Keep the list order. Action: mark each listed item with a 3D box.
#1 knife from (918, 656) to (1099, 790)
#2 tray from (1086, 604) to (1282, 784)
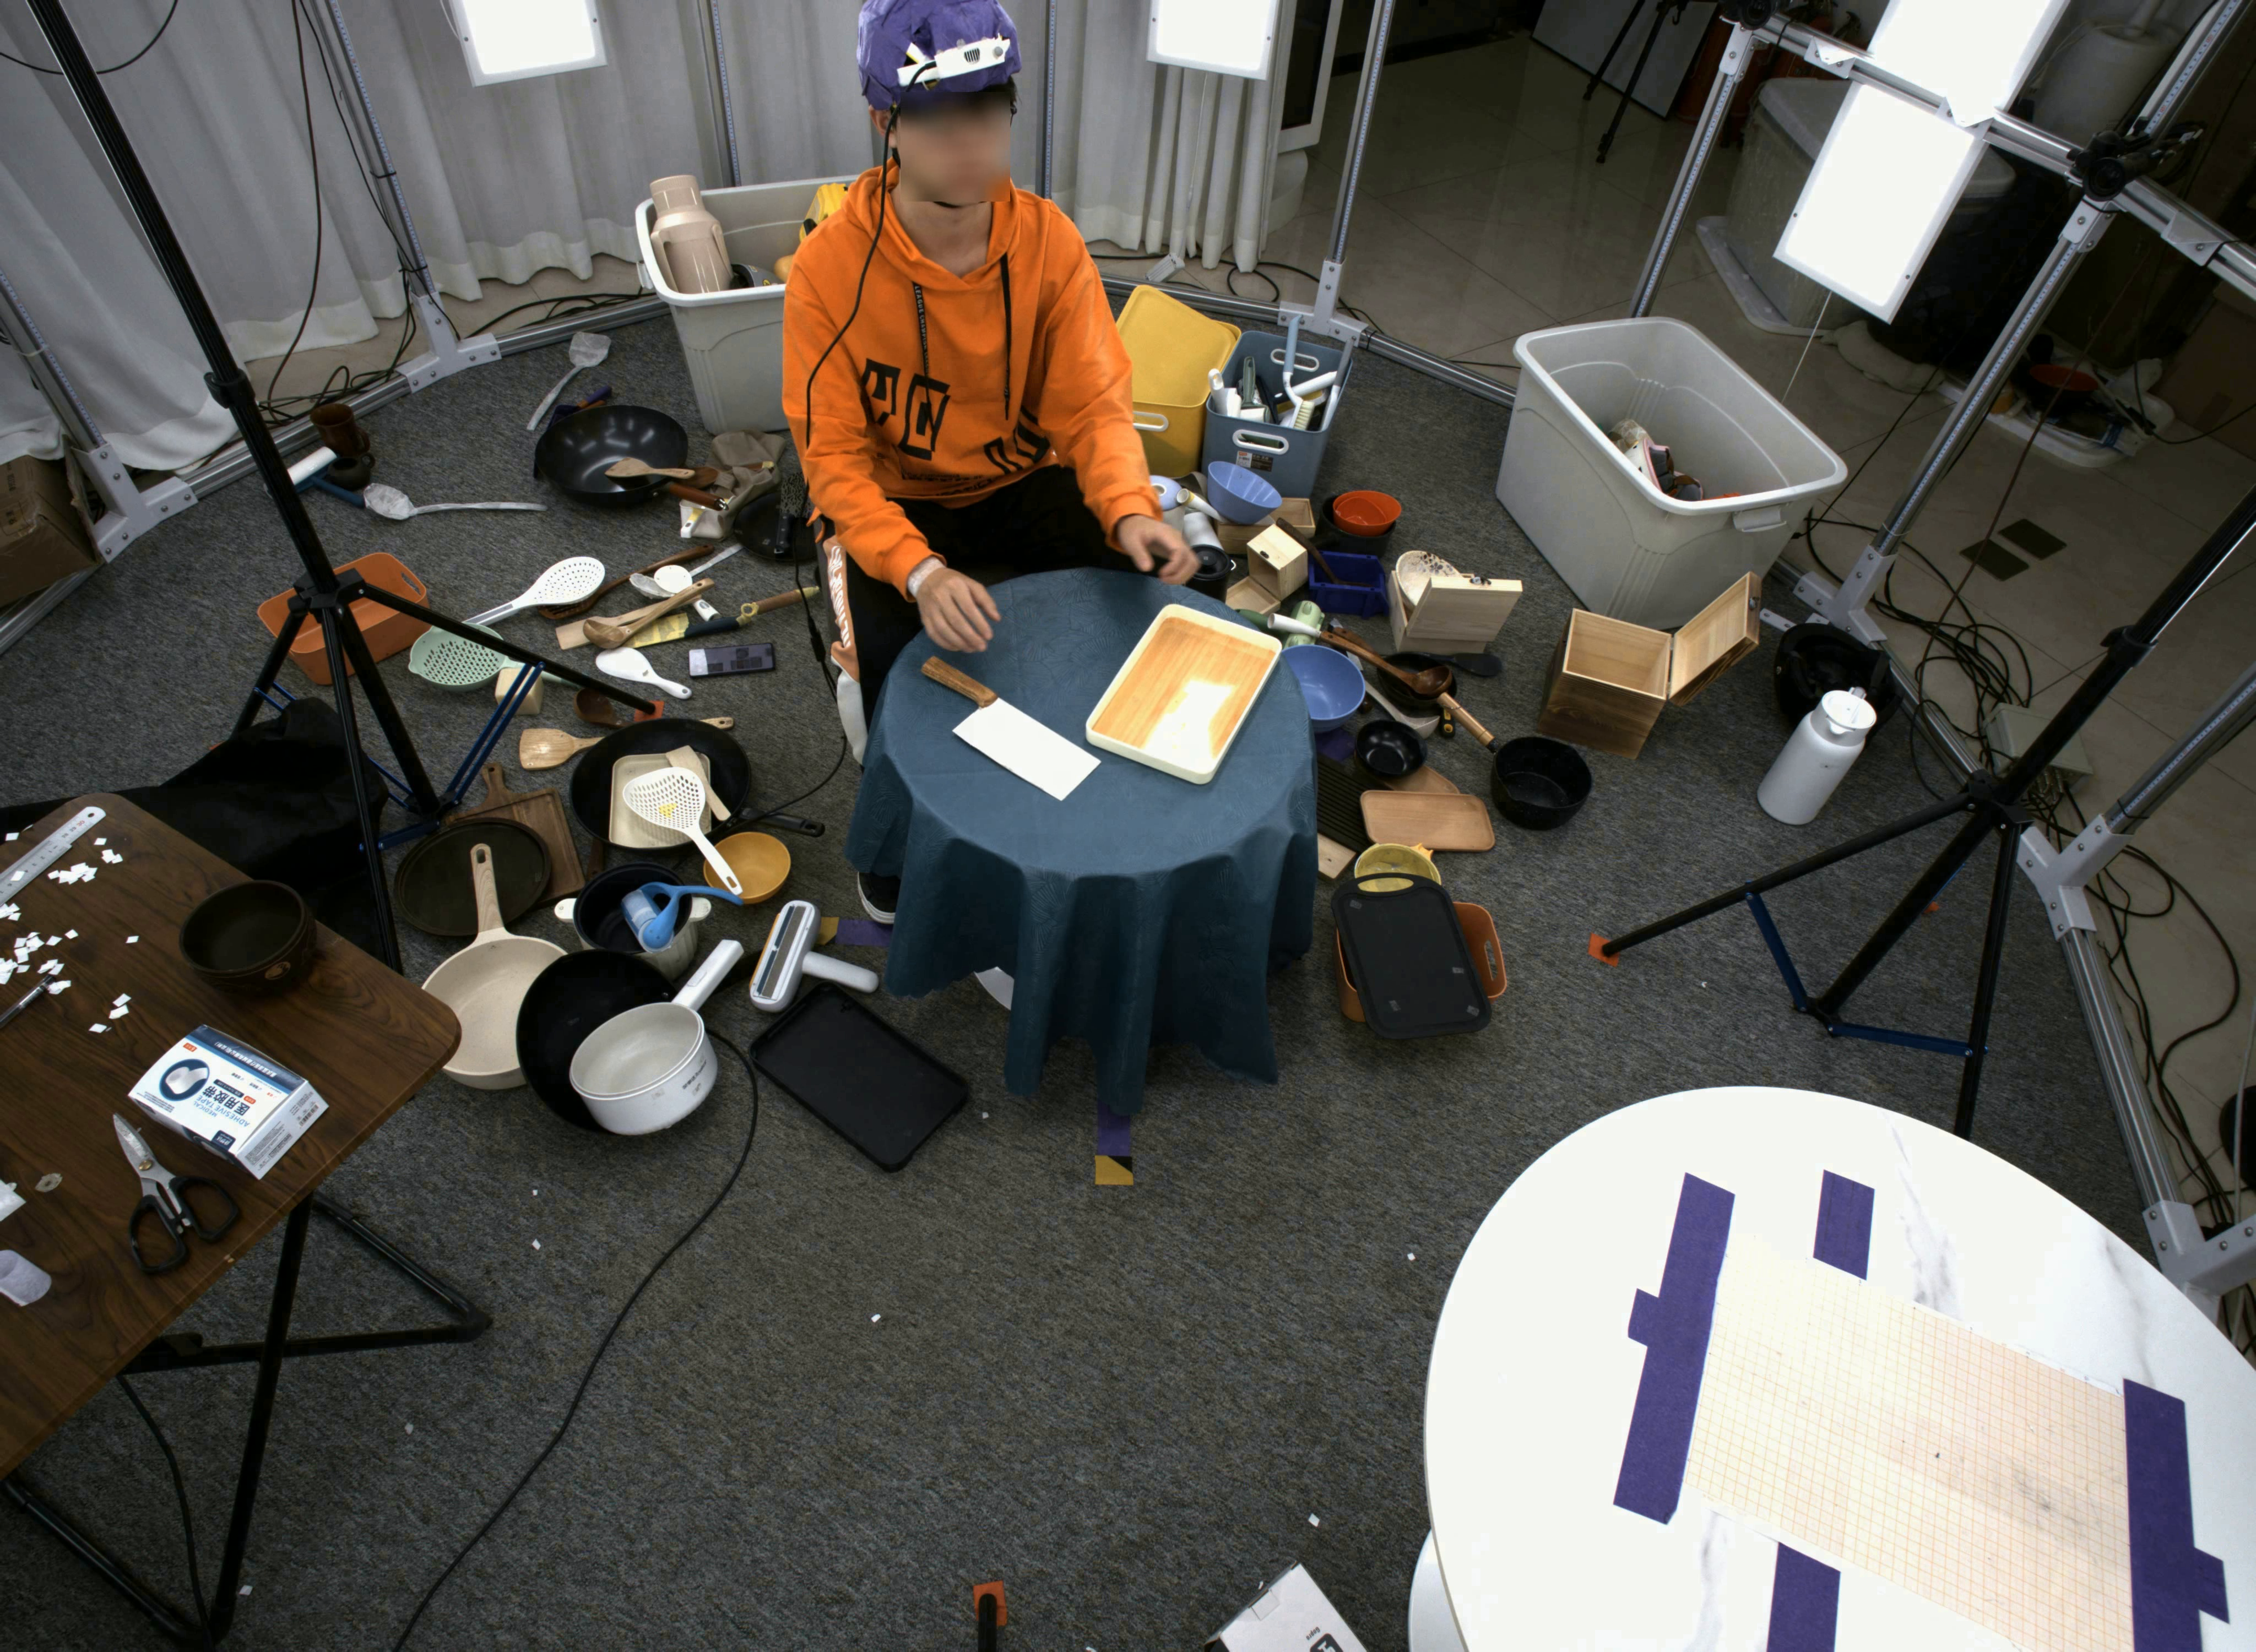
[{"bbox_3d":[-0.183,-0.139,1.767,0.309,0.020,0.094,32,56,19],"label":"knife"},{"bbox_3d":[0.083,-0.195,1.825,0.193,0.027,0.306,21,51,14],"label":"tray"}]
